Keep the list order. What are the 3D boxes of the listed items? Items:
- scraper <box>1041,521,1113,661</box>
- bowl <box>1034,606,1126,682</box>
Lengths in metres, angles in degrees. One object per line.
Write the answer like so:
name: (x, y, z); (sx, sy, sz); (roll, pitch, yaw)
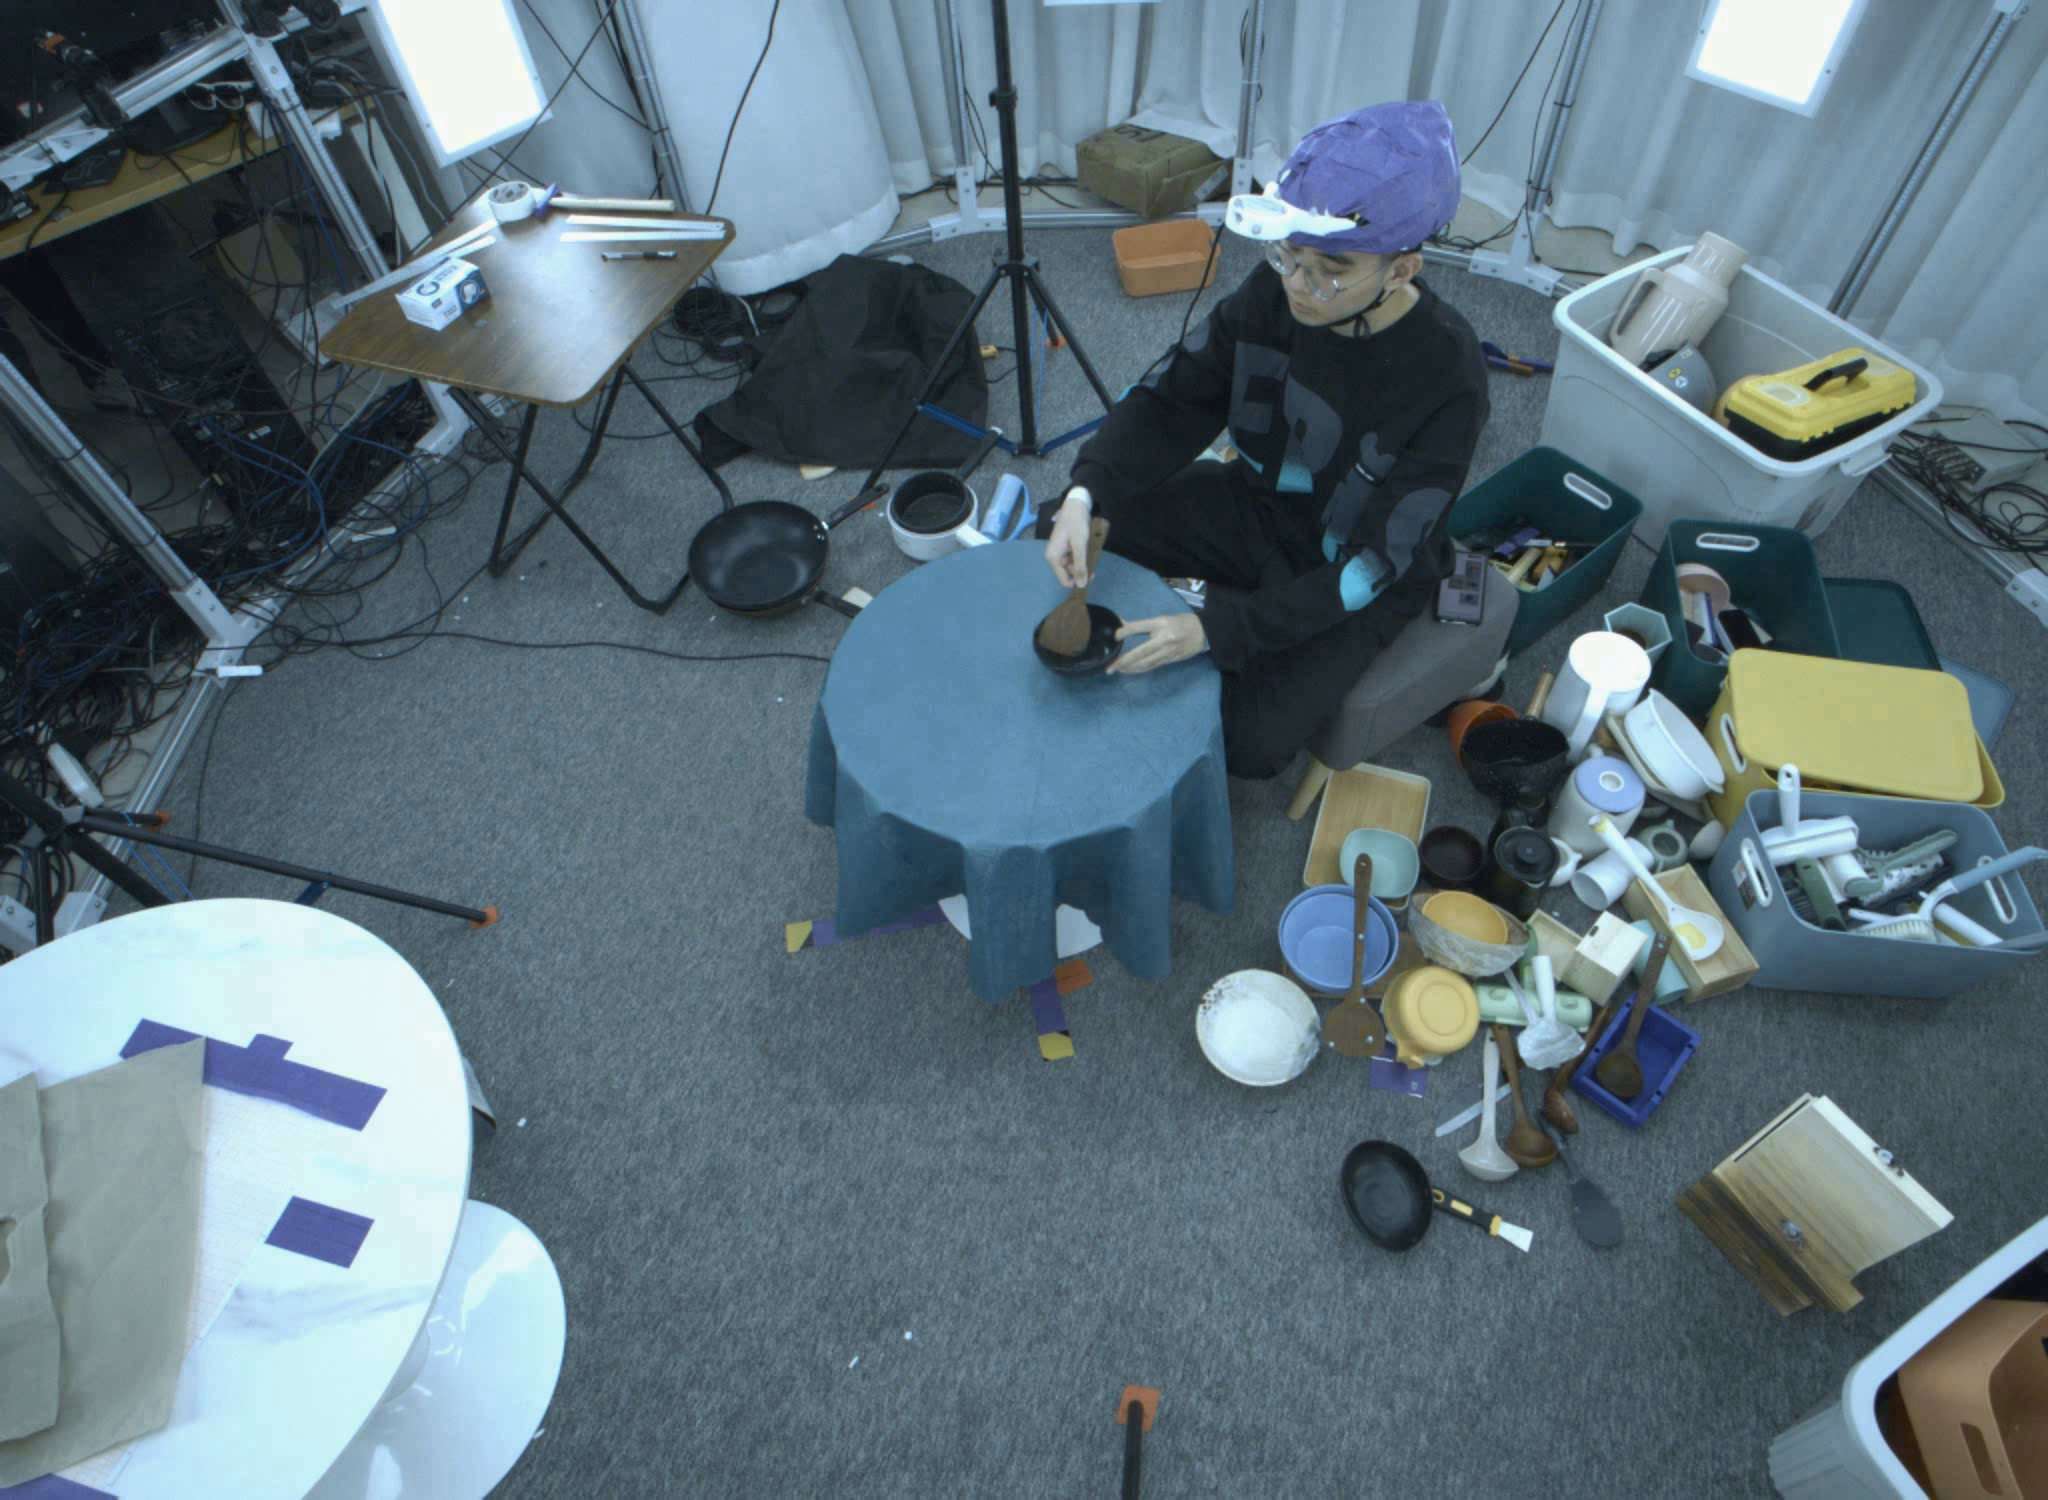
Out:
scraper: (0.088, -0.238, 1.829); (0.076, 0.211, 0.011); (18, 15, -1)
bowl: (0.087, -0.150, 1.843); (0.139, 0.050, 0.138); (-5, 50, 8)
